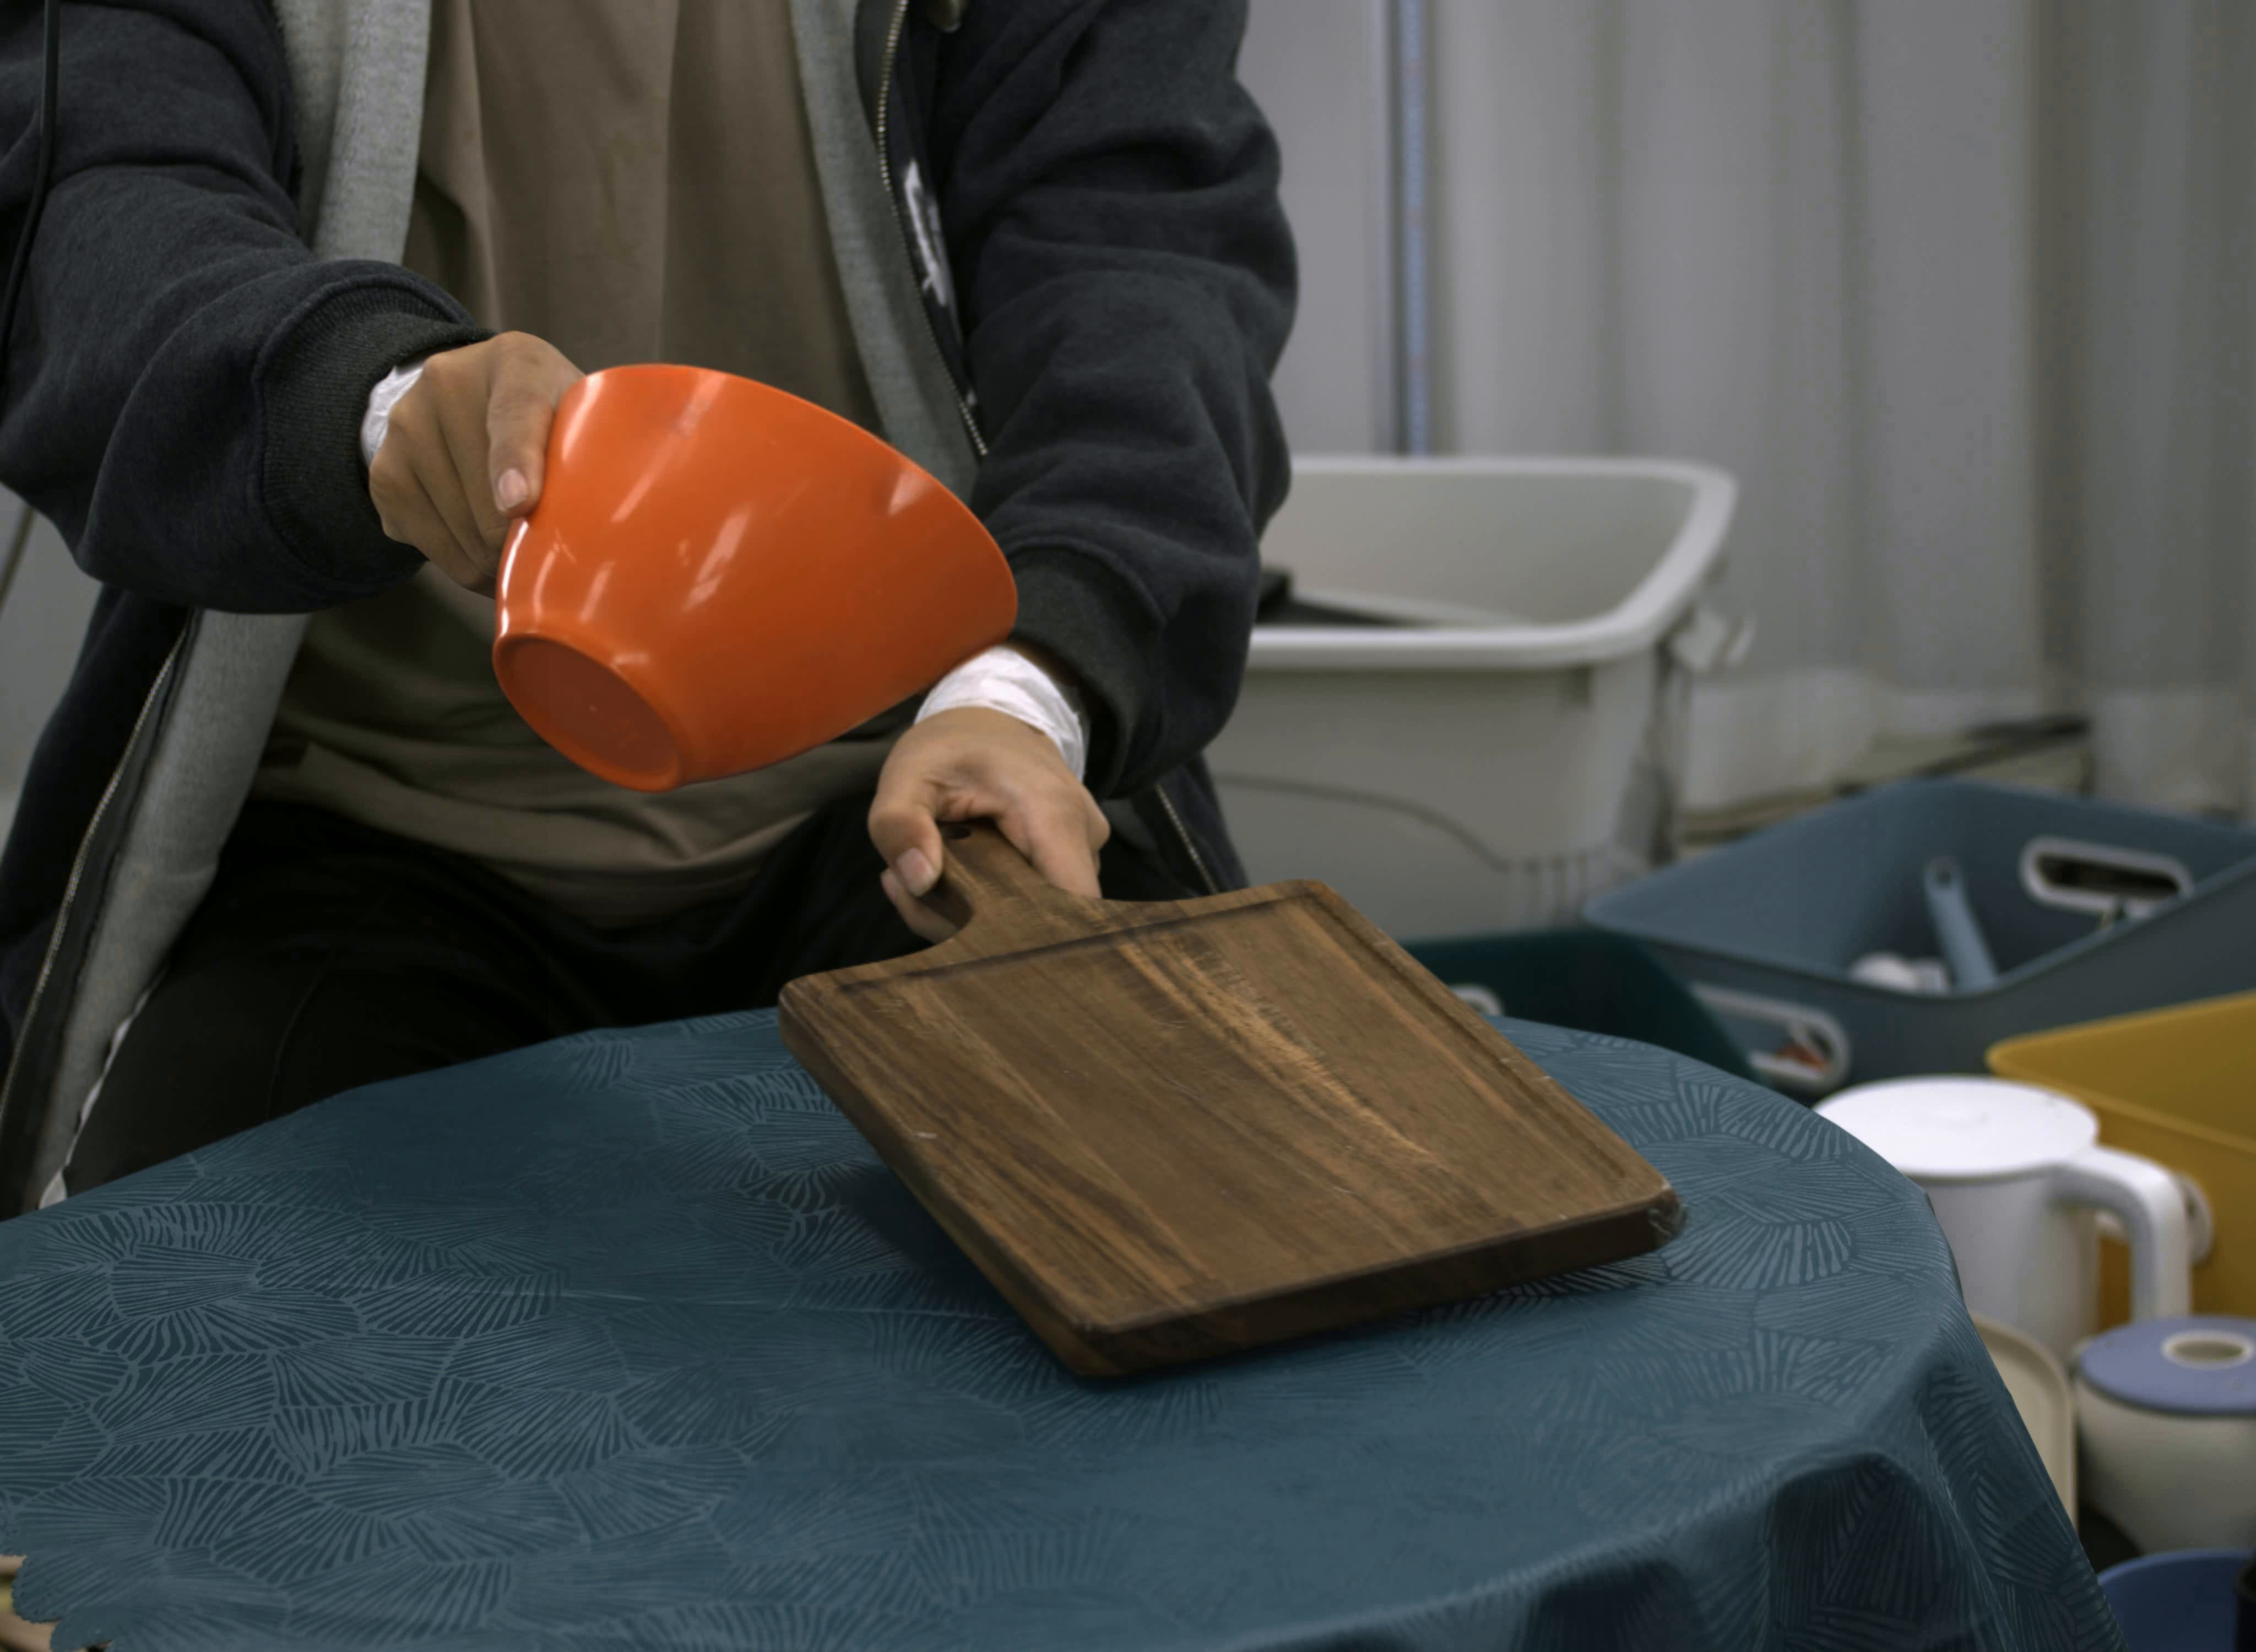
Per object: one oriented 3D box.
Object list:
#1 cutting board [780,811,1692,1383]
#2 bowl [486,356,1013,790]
[{"bbox_3d":[0.008,0.069,1.719,0.200,0.023,0.356,-11,26,-22],"label":"cutting board"},{"bbox_3d":[-0.122,-0.063,1.602,0.149,0.146,0.105,10,54,40],"label":"bowl"}]
